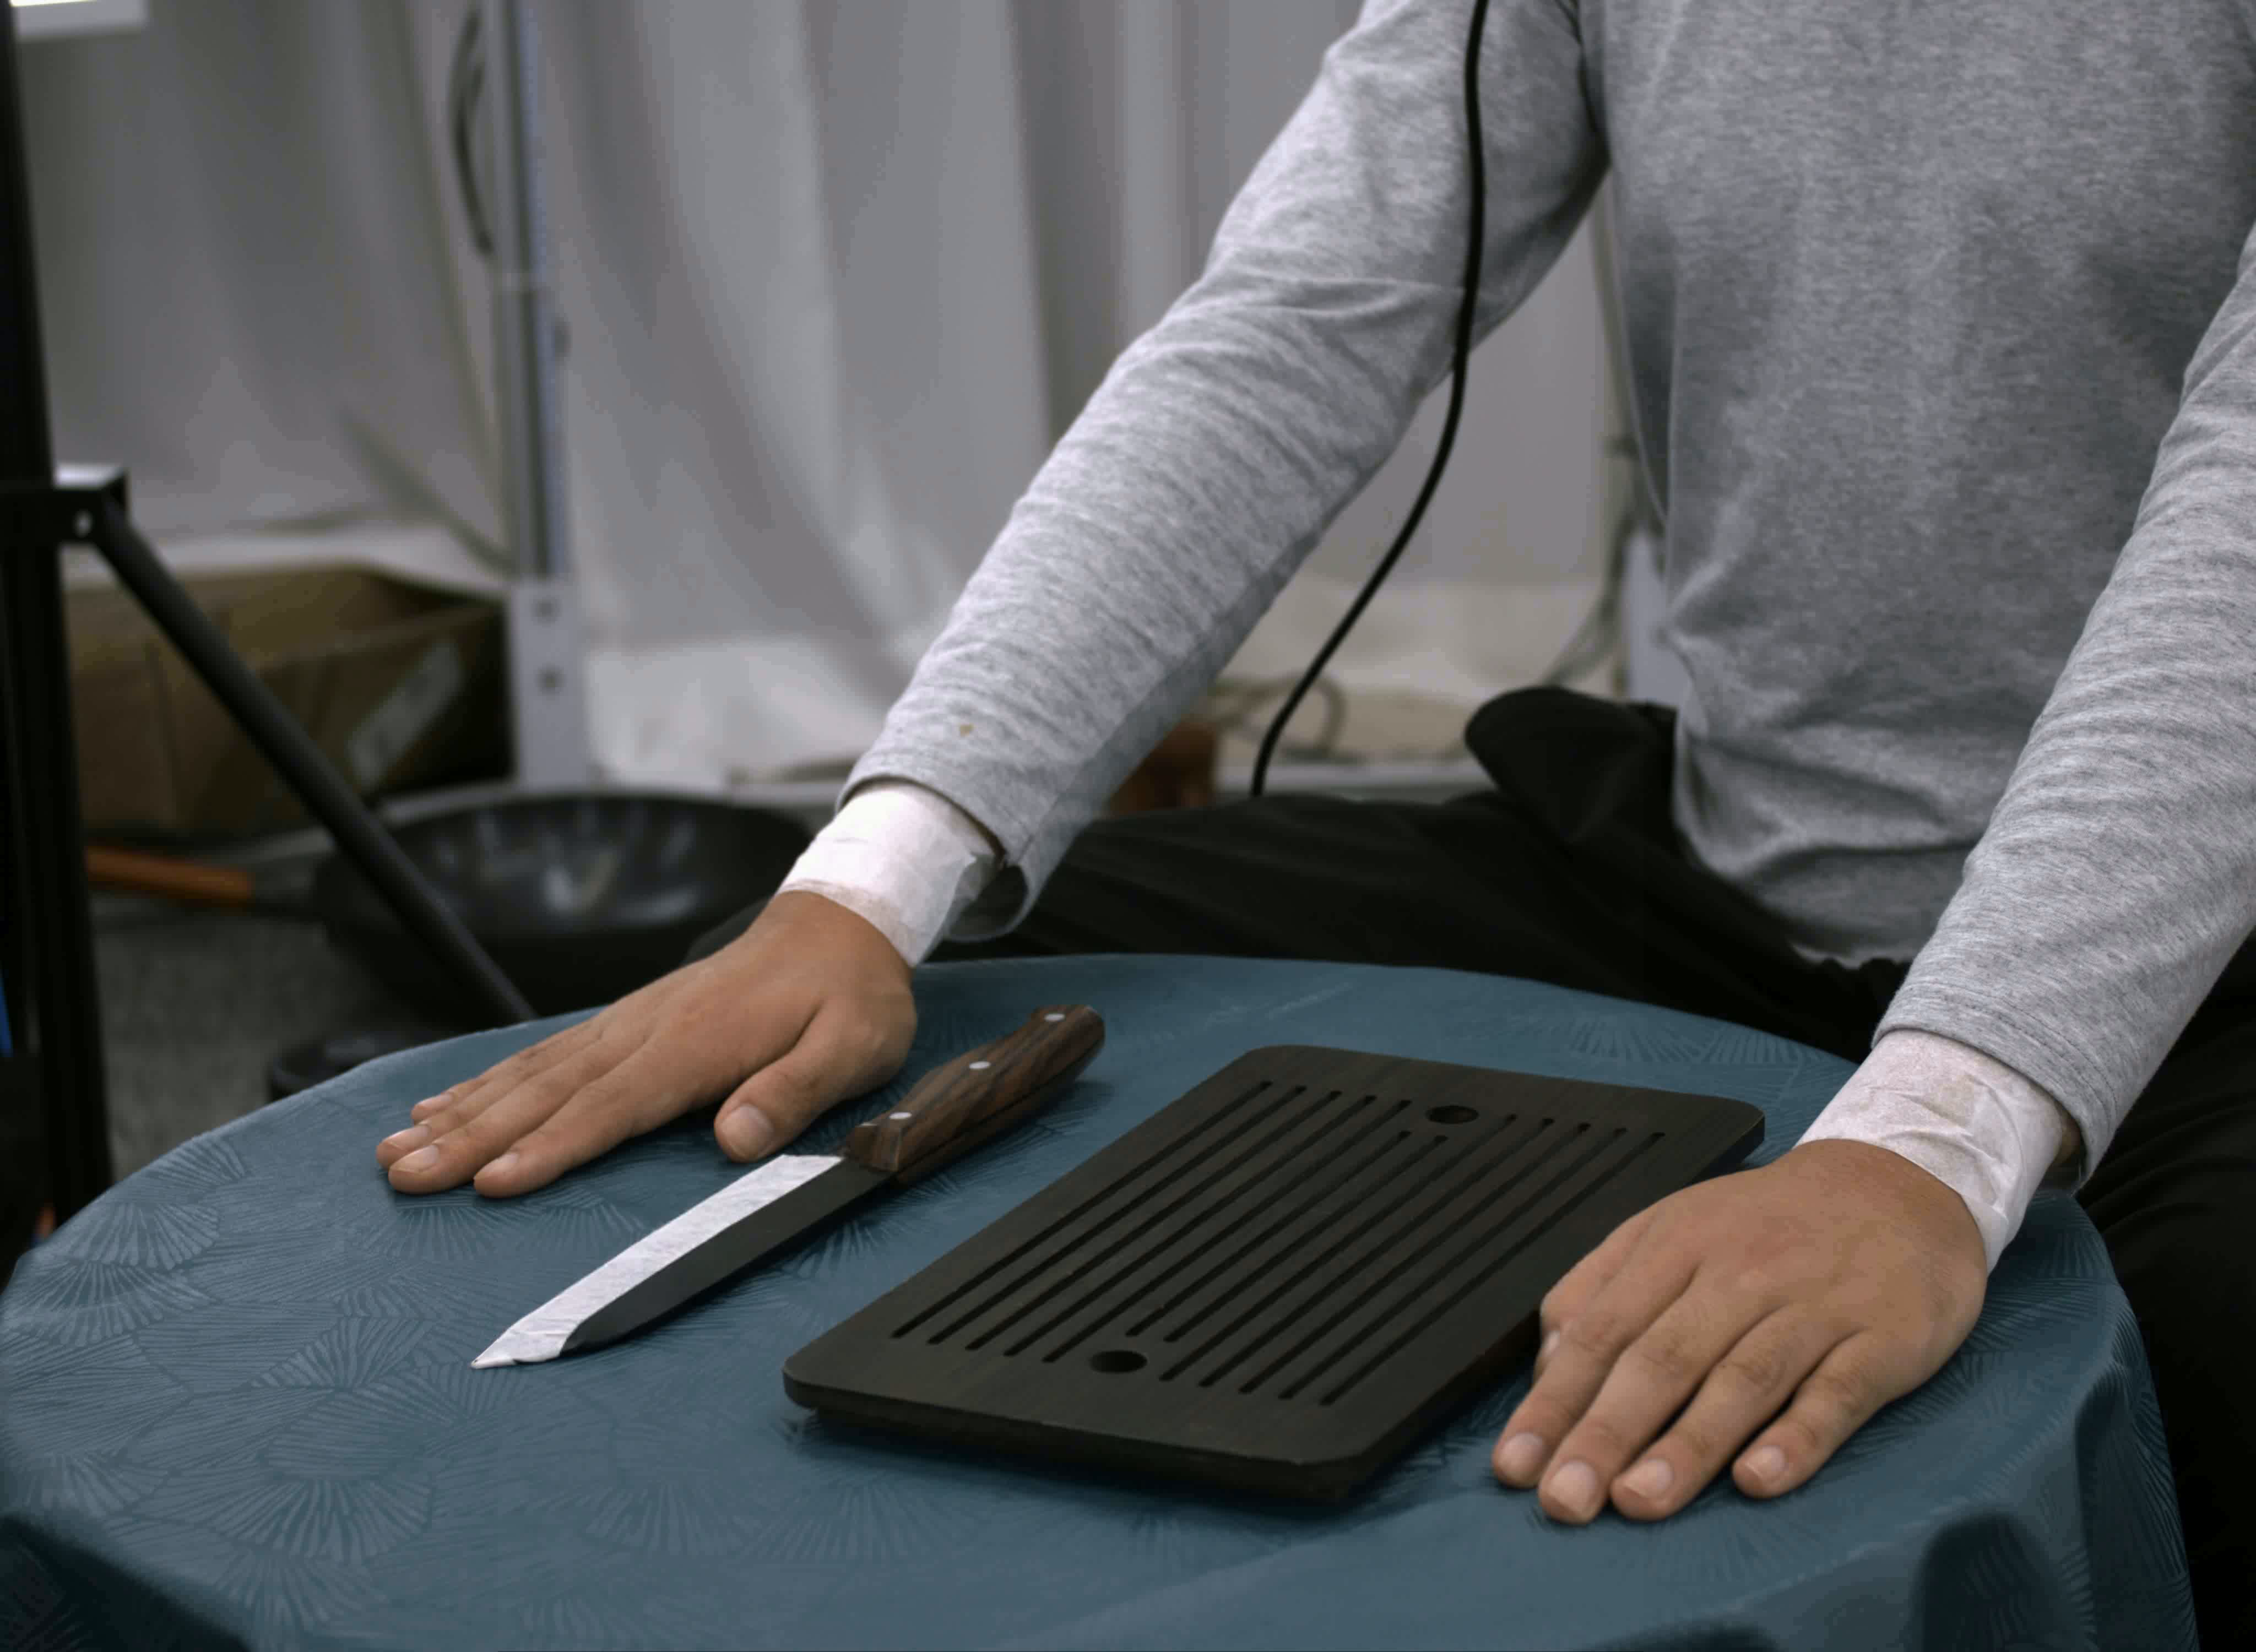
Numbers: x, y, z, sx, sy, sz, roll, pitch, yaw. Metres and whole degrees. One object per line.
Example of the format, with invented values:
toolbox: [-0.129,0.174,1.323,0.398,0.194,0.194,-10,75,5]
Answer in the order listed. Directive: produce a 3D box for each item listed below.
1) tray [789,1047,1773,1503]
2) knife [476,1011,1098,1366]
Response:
tray: [0.051,0.121,1.476,0.173,0.018,0.301,6,17,28]
knife: [-0.094,0.106,1.556,0.051,0.020,0.283,3,18,35]
